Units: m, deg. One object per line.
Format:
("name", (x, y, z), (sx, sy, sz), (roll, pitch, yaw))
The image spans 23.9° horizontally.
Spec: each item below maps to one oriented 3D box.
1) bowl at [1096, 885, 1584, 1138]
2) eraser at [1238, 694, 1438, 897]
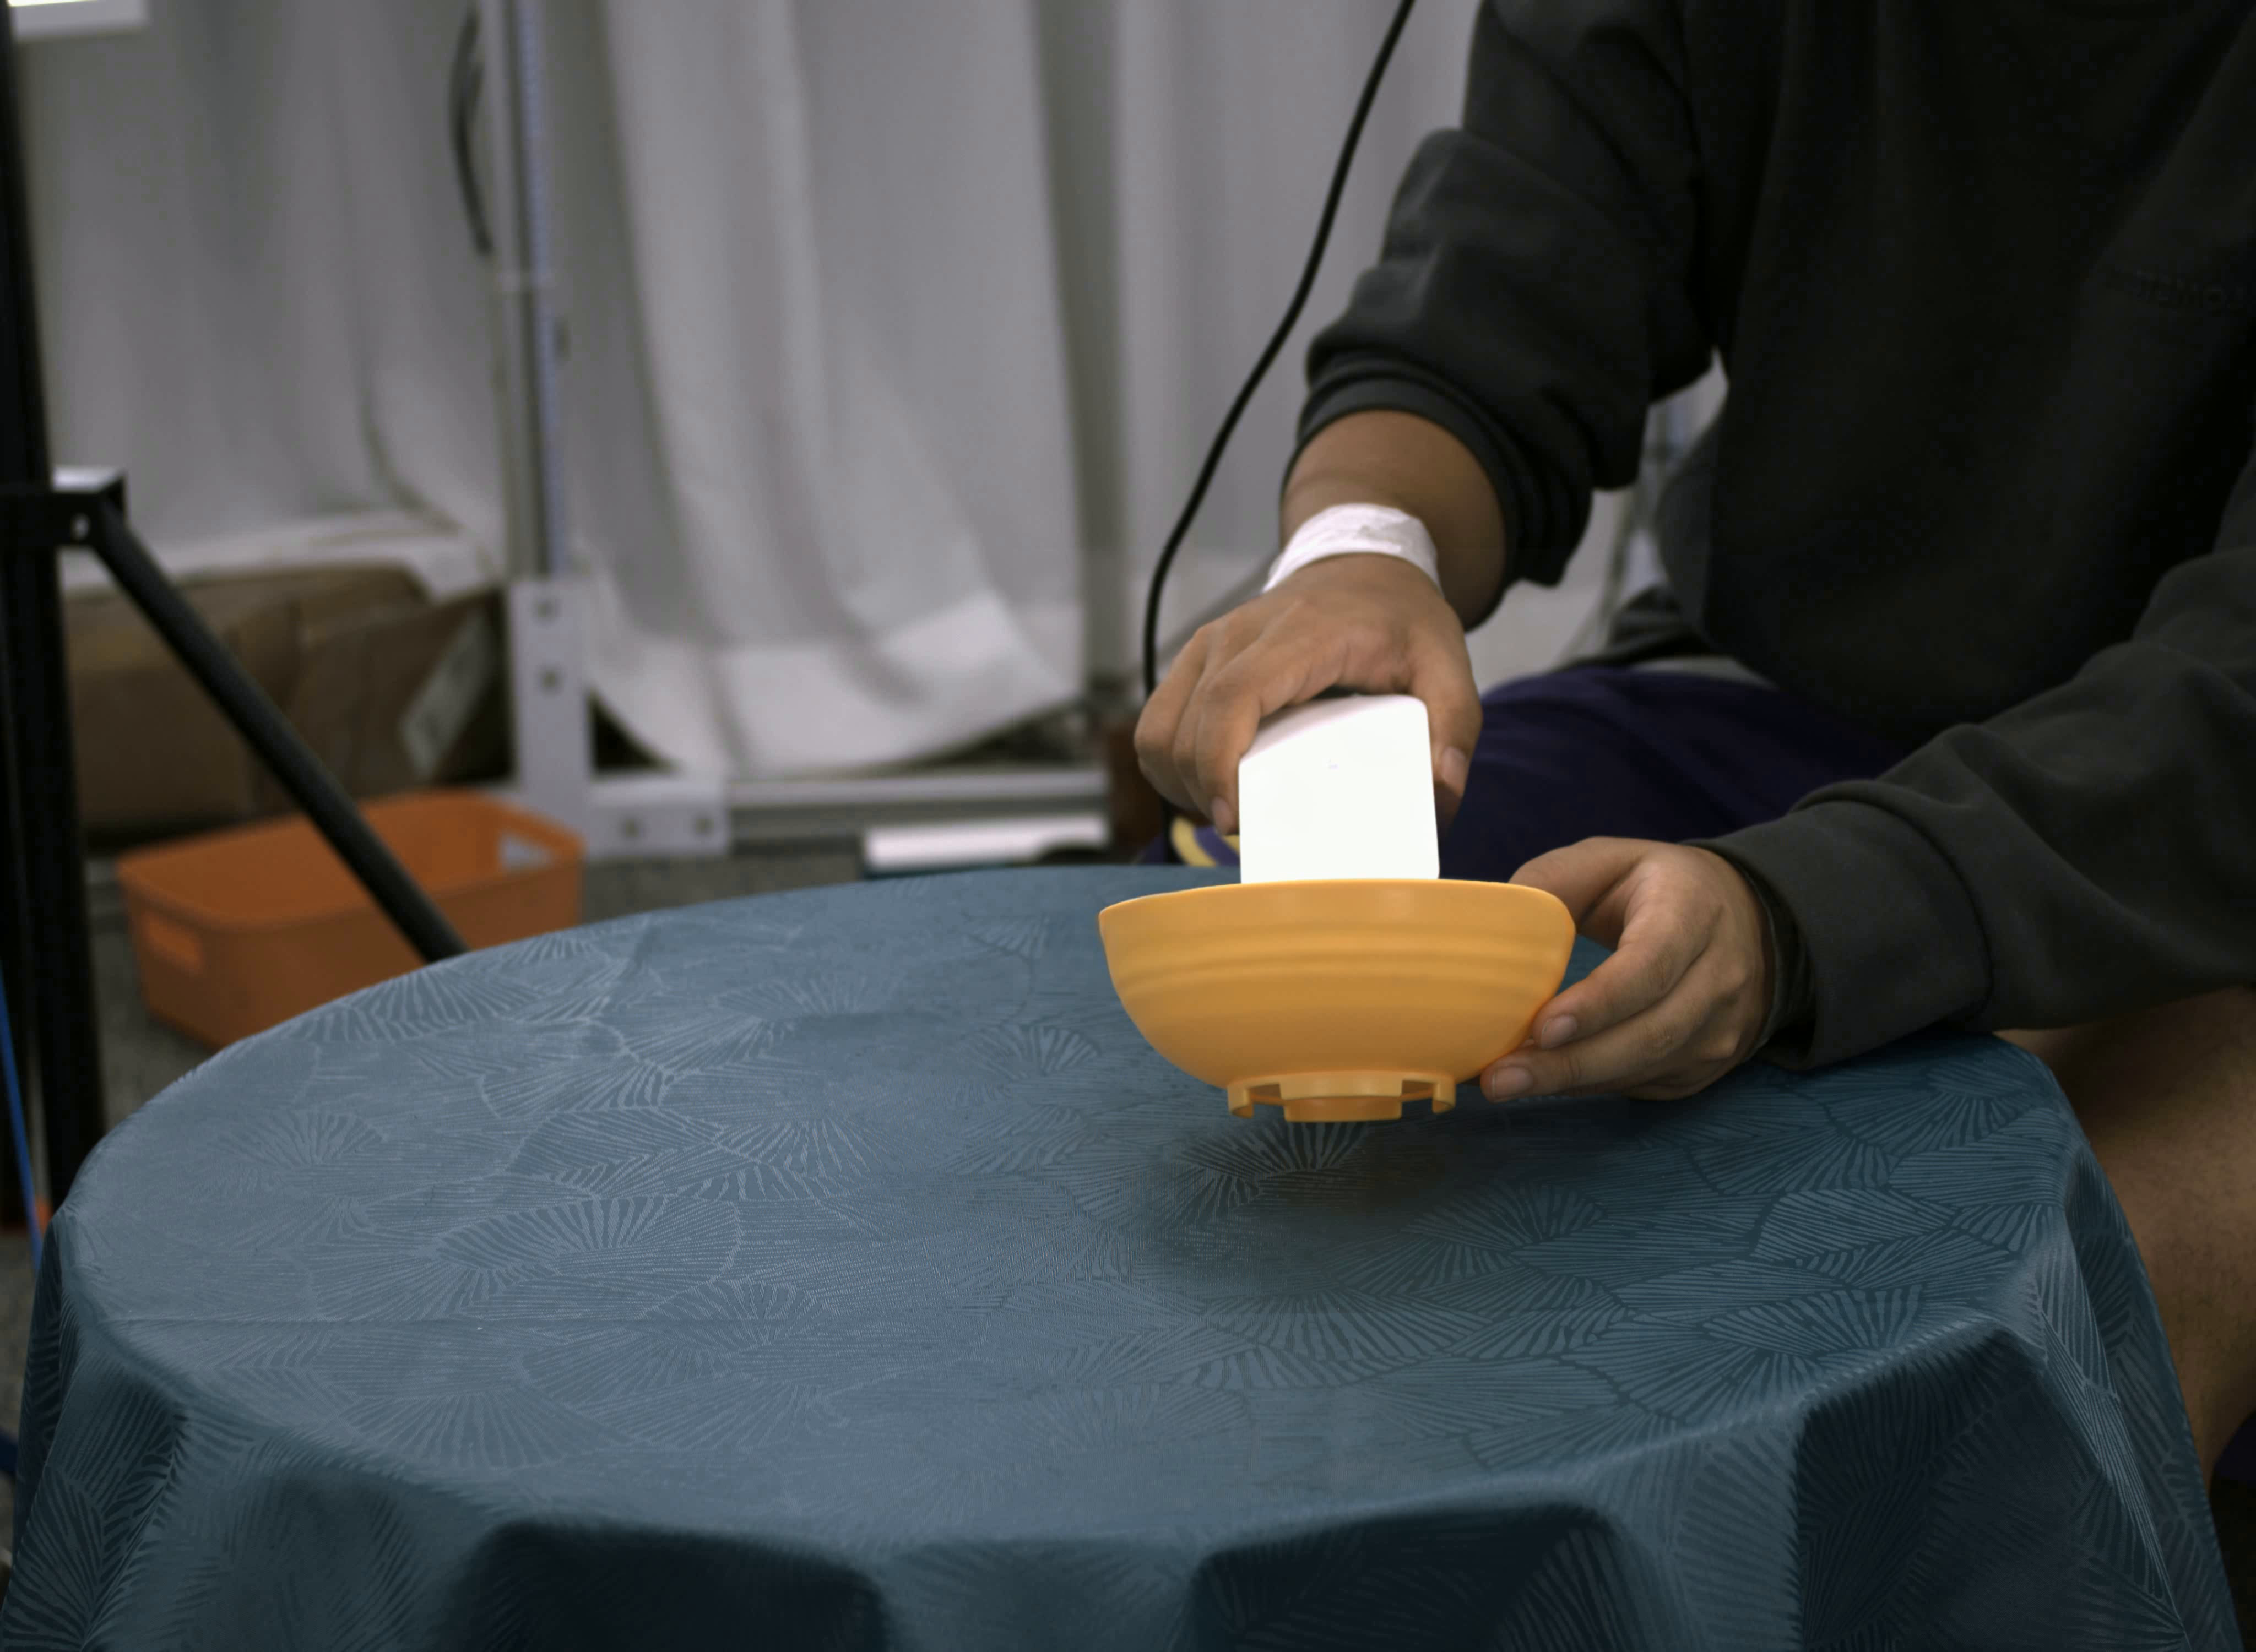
("bowl", (0.062, 0.058, 1.556), (0.144, 0.060, 0.145), (1, -11, -1))
("eraser", (0.066, -0.002, 1.663), (0.063, 0.034, 0.132), (-3, 31, 4))
